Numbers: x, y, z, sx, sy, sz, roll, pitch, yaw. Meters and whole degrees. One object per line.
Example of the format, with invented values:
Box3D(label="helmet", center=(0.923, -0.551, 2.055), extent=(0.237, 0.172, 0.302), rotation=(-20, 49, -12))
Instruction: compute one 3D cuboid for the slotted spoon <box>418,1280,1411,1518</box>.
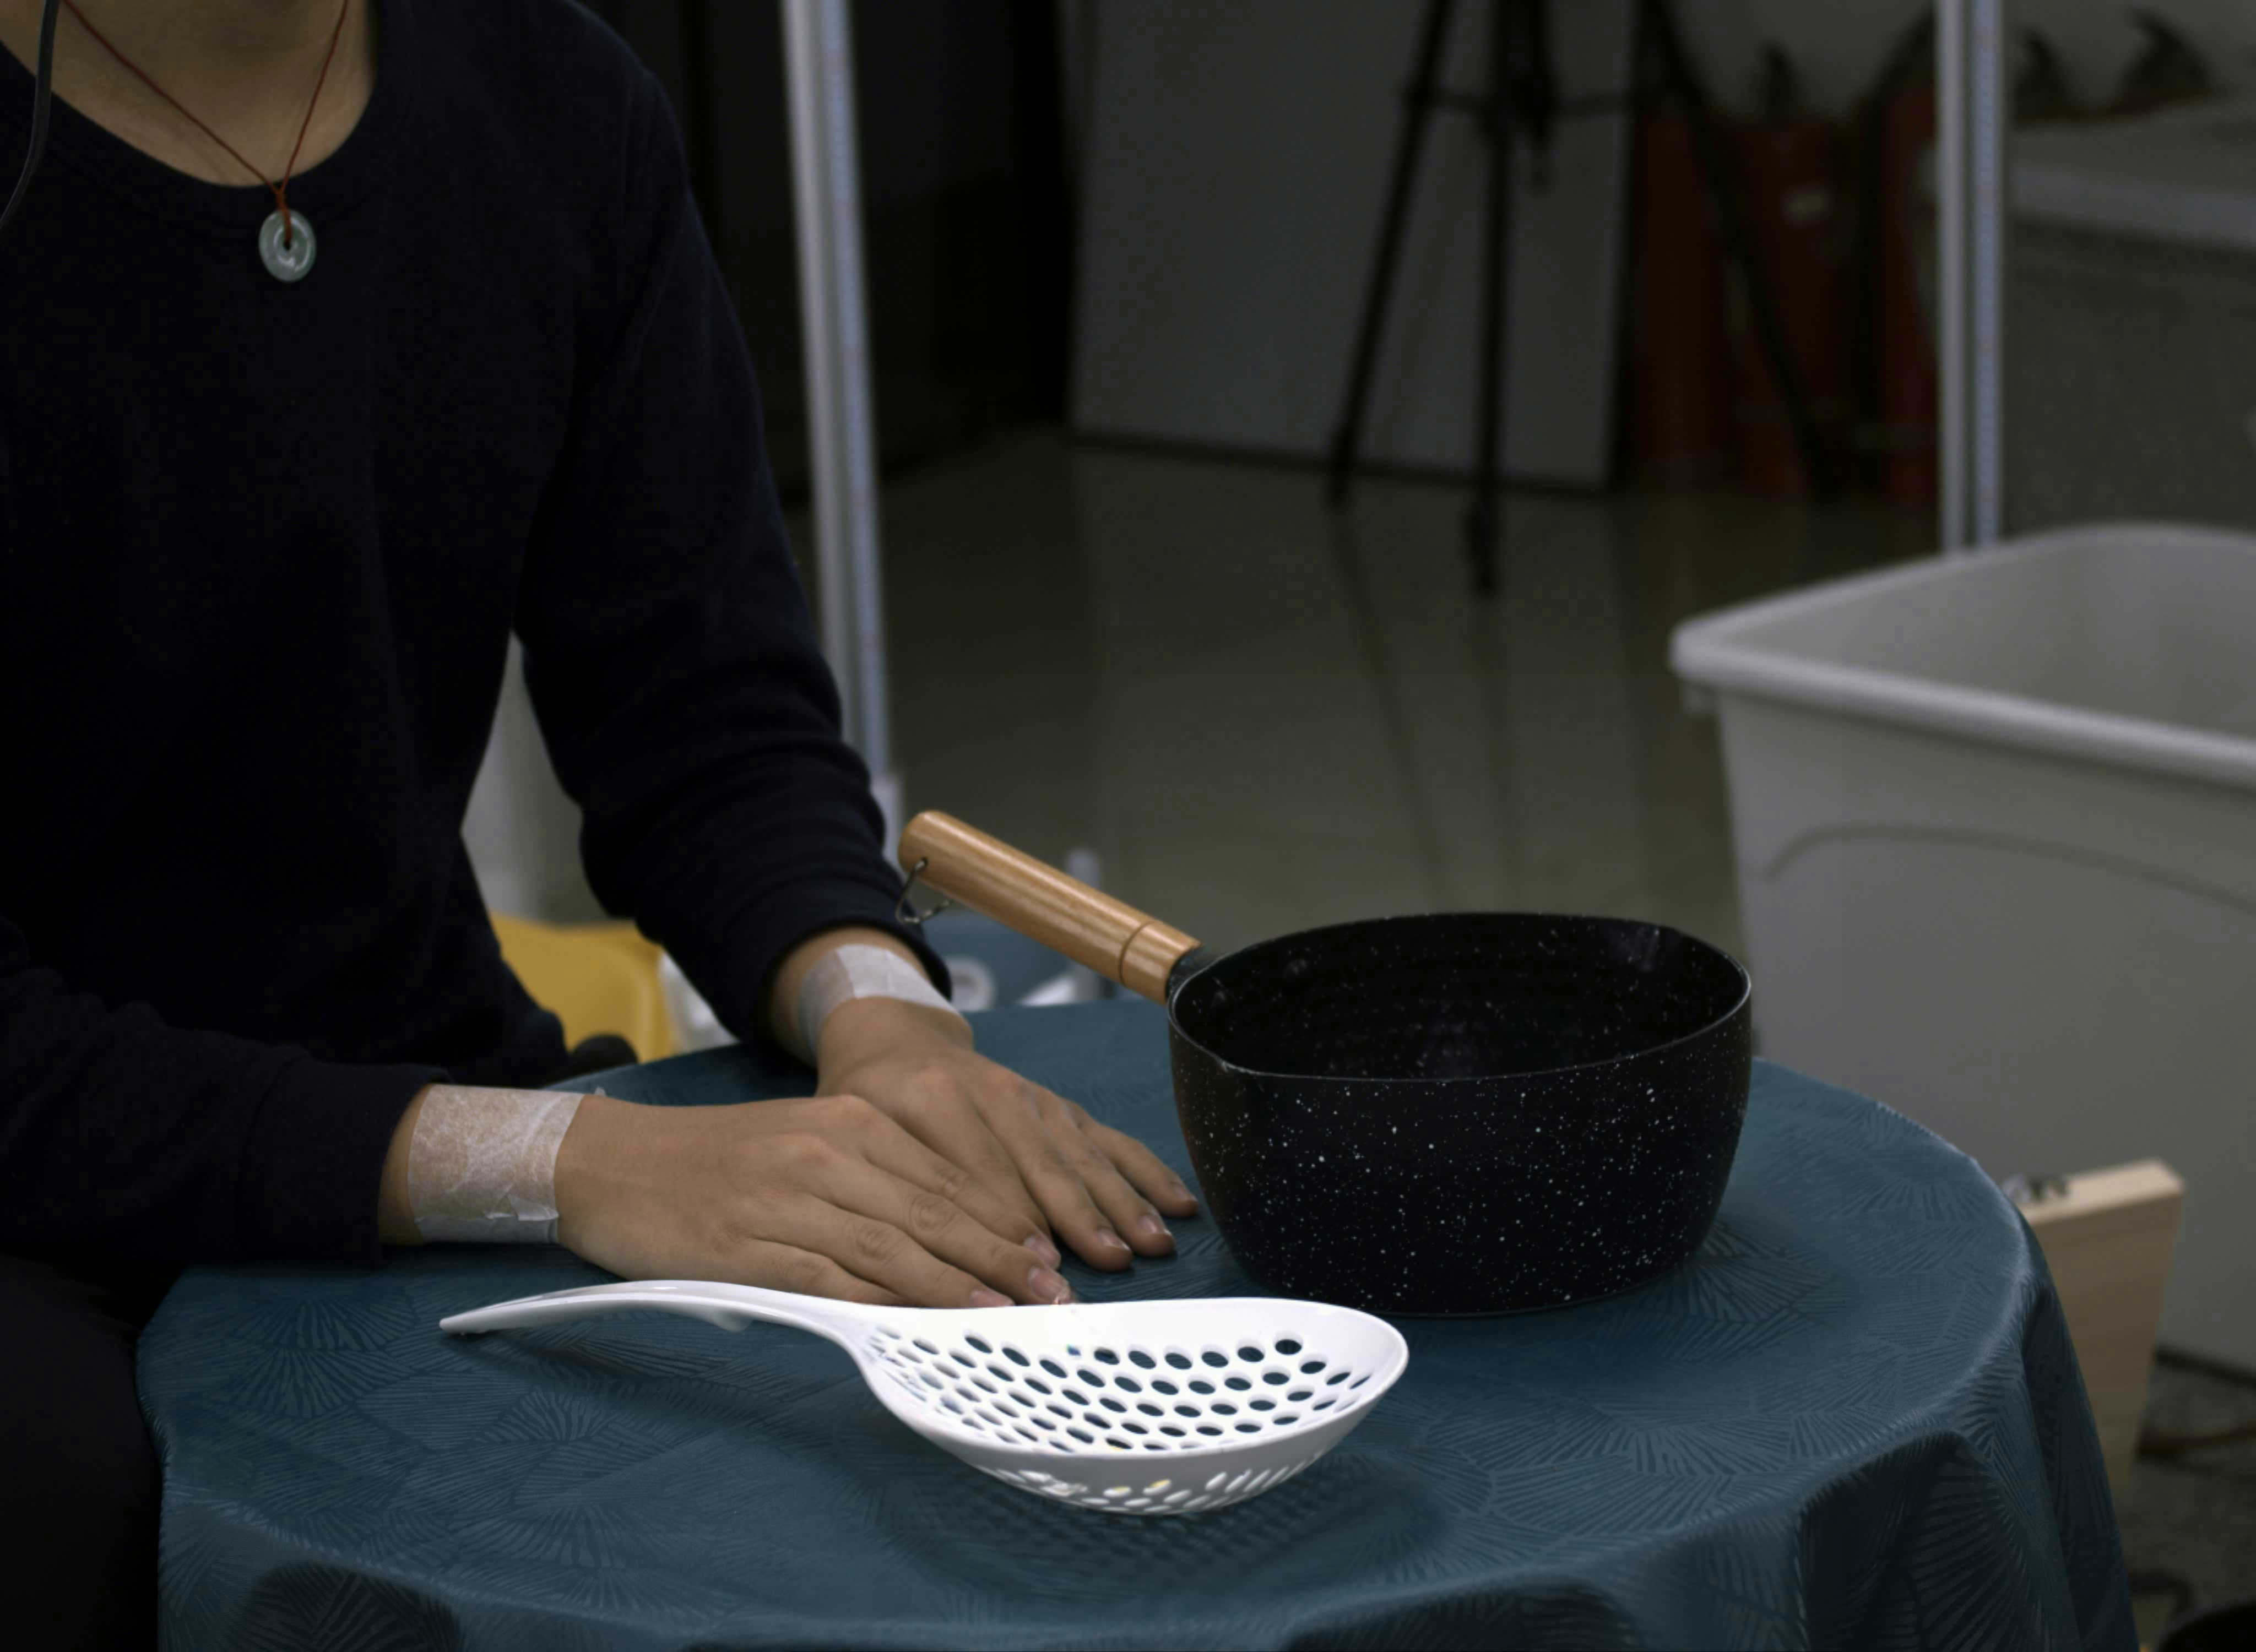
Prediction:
Box3D(label="slotted spoon", center=(-0.075, 0.155, 1.564), extent=(0.350, 0.051, 0.134), rotation=(9, 20, 38))

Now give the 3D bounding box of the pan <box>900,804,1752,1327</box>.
Box3D(label="pan", center=(0.048, 0.070, 1.739), extent=(0.346, 0.109, 0.203), rotation=(11, 21, 44))
